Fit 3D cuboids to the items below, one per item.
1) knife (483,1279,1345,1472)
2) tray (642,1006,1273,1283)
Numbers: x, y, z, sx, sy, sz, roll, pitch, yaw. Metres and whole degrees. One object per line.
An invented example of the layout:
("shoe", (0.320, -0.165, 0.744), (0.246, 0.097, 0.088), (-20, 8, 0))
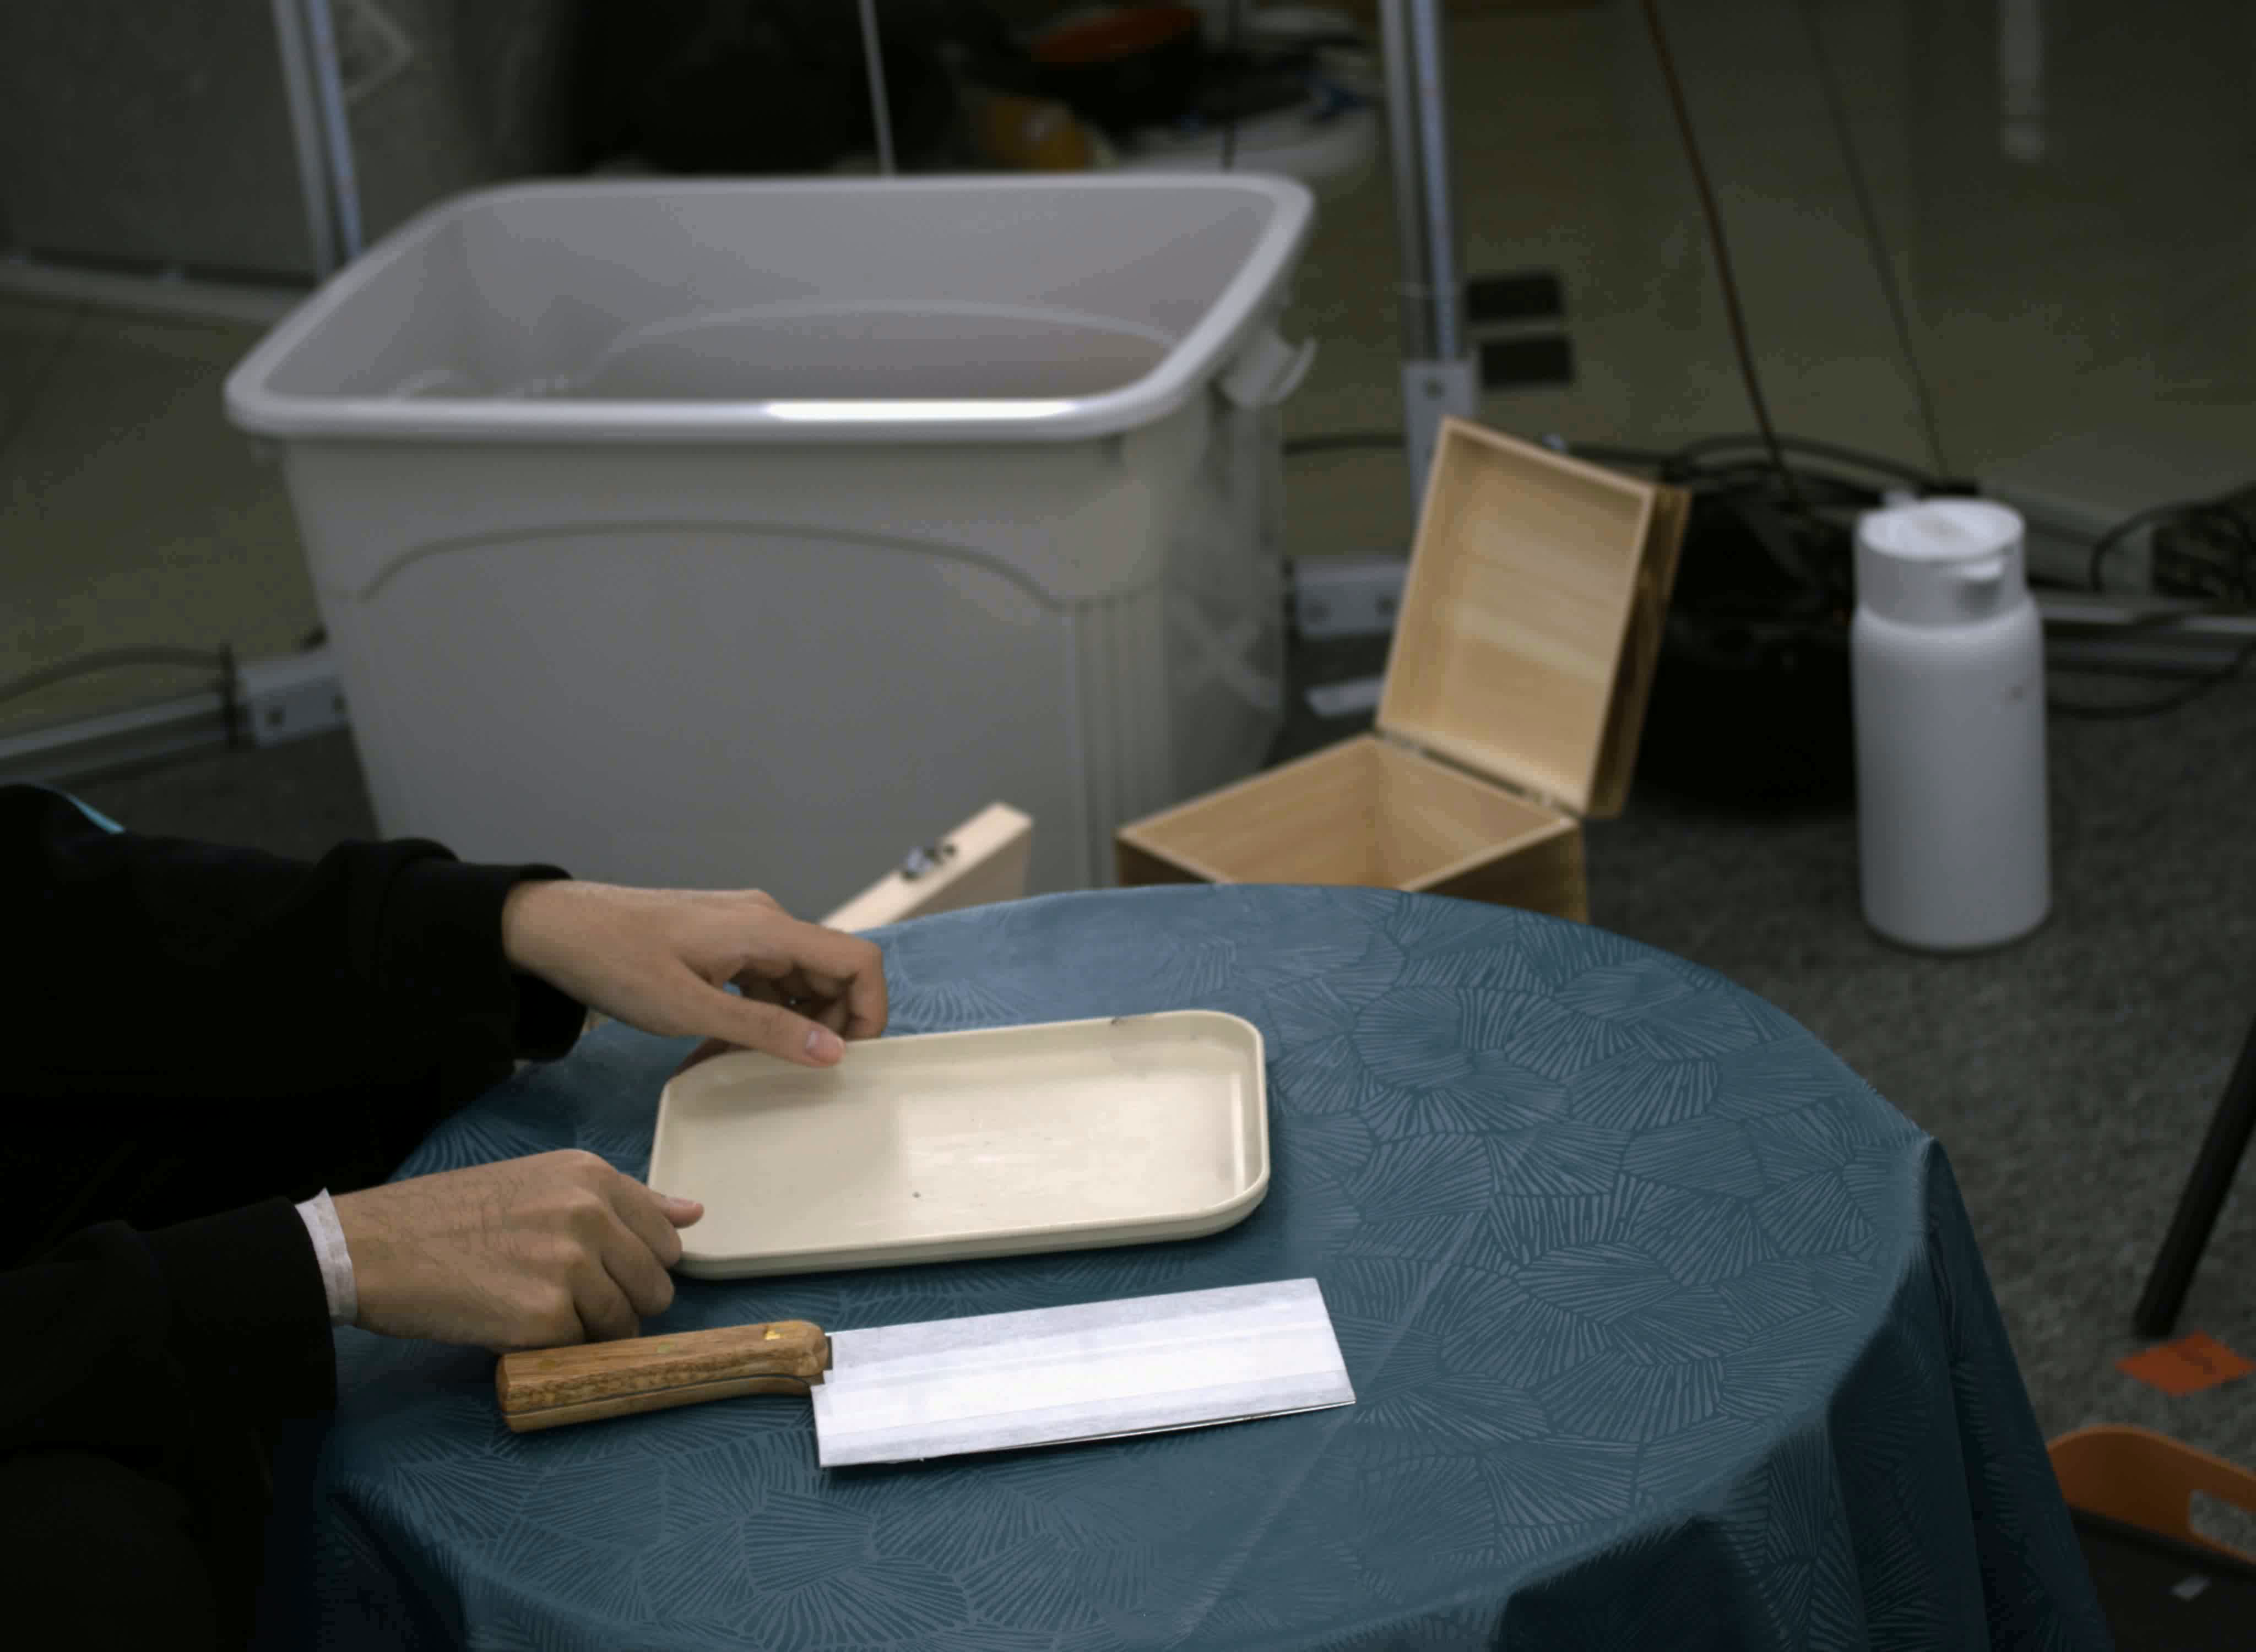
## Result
("knife", (-0.076, 0.199, 2.018), (0.305, 0.021, 0.091), (-6, 26, -5))
("tray", (-0.064, 0.123, 2.174), (0.239, 0.018, 0.168), (-5, 26, 3))
